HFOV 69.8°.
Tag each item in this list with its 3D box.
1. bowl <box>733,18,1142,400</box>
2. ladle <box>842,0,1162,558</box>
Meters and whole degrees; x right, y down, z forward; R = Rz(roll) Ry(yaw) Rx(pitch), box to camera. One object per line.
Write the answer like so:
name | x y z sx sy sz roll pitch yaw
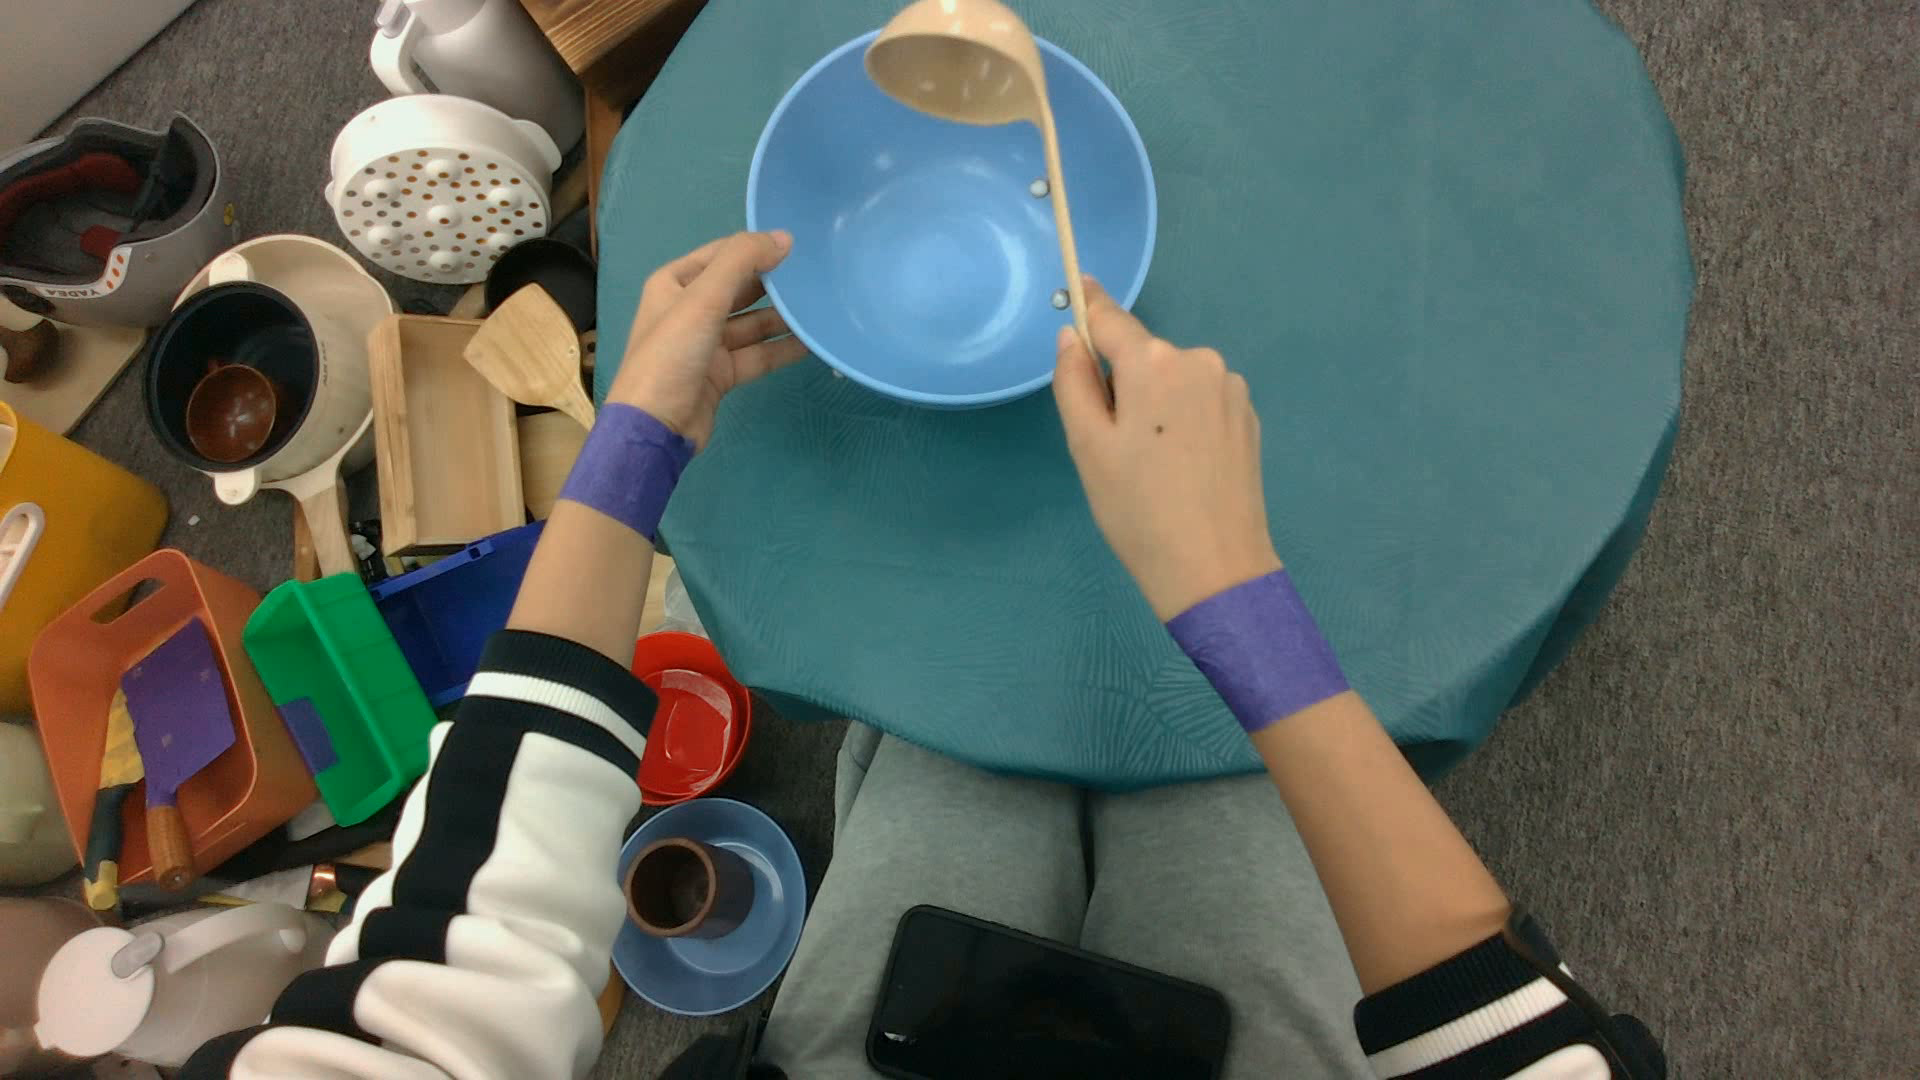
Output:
bowl | -0.012 -0.155 0.703 0.196 0.095 0.197 1 78 -3
ladle | 0.013 -0.104 0.569 0.073 0.072 0.255 -15 77 3
